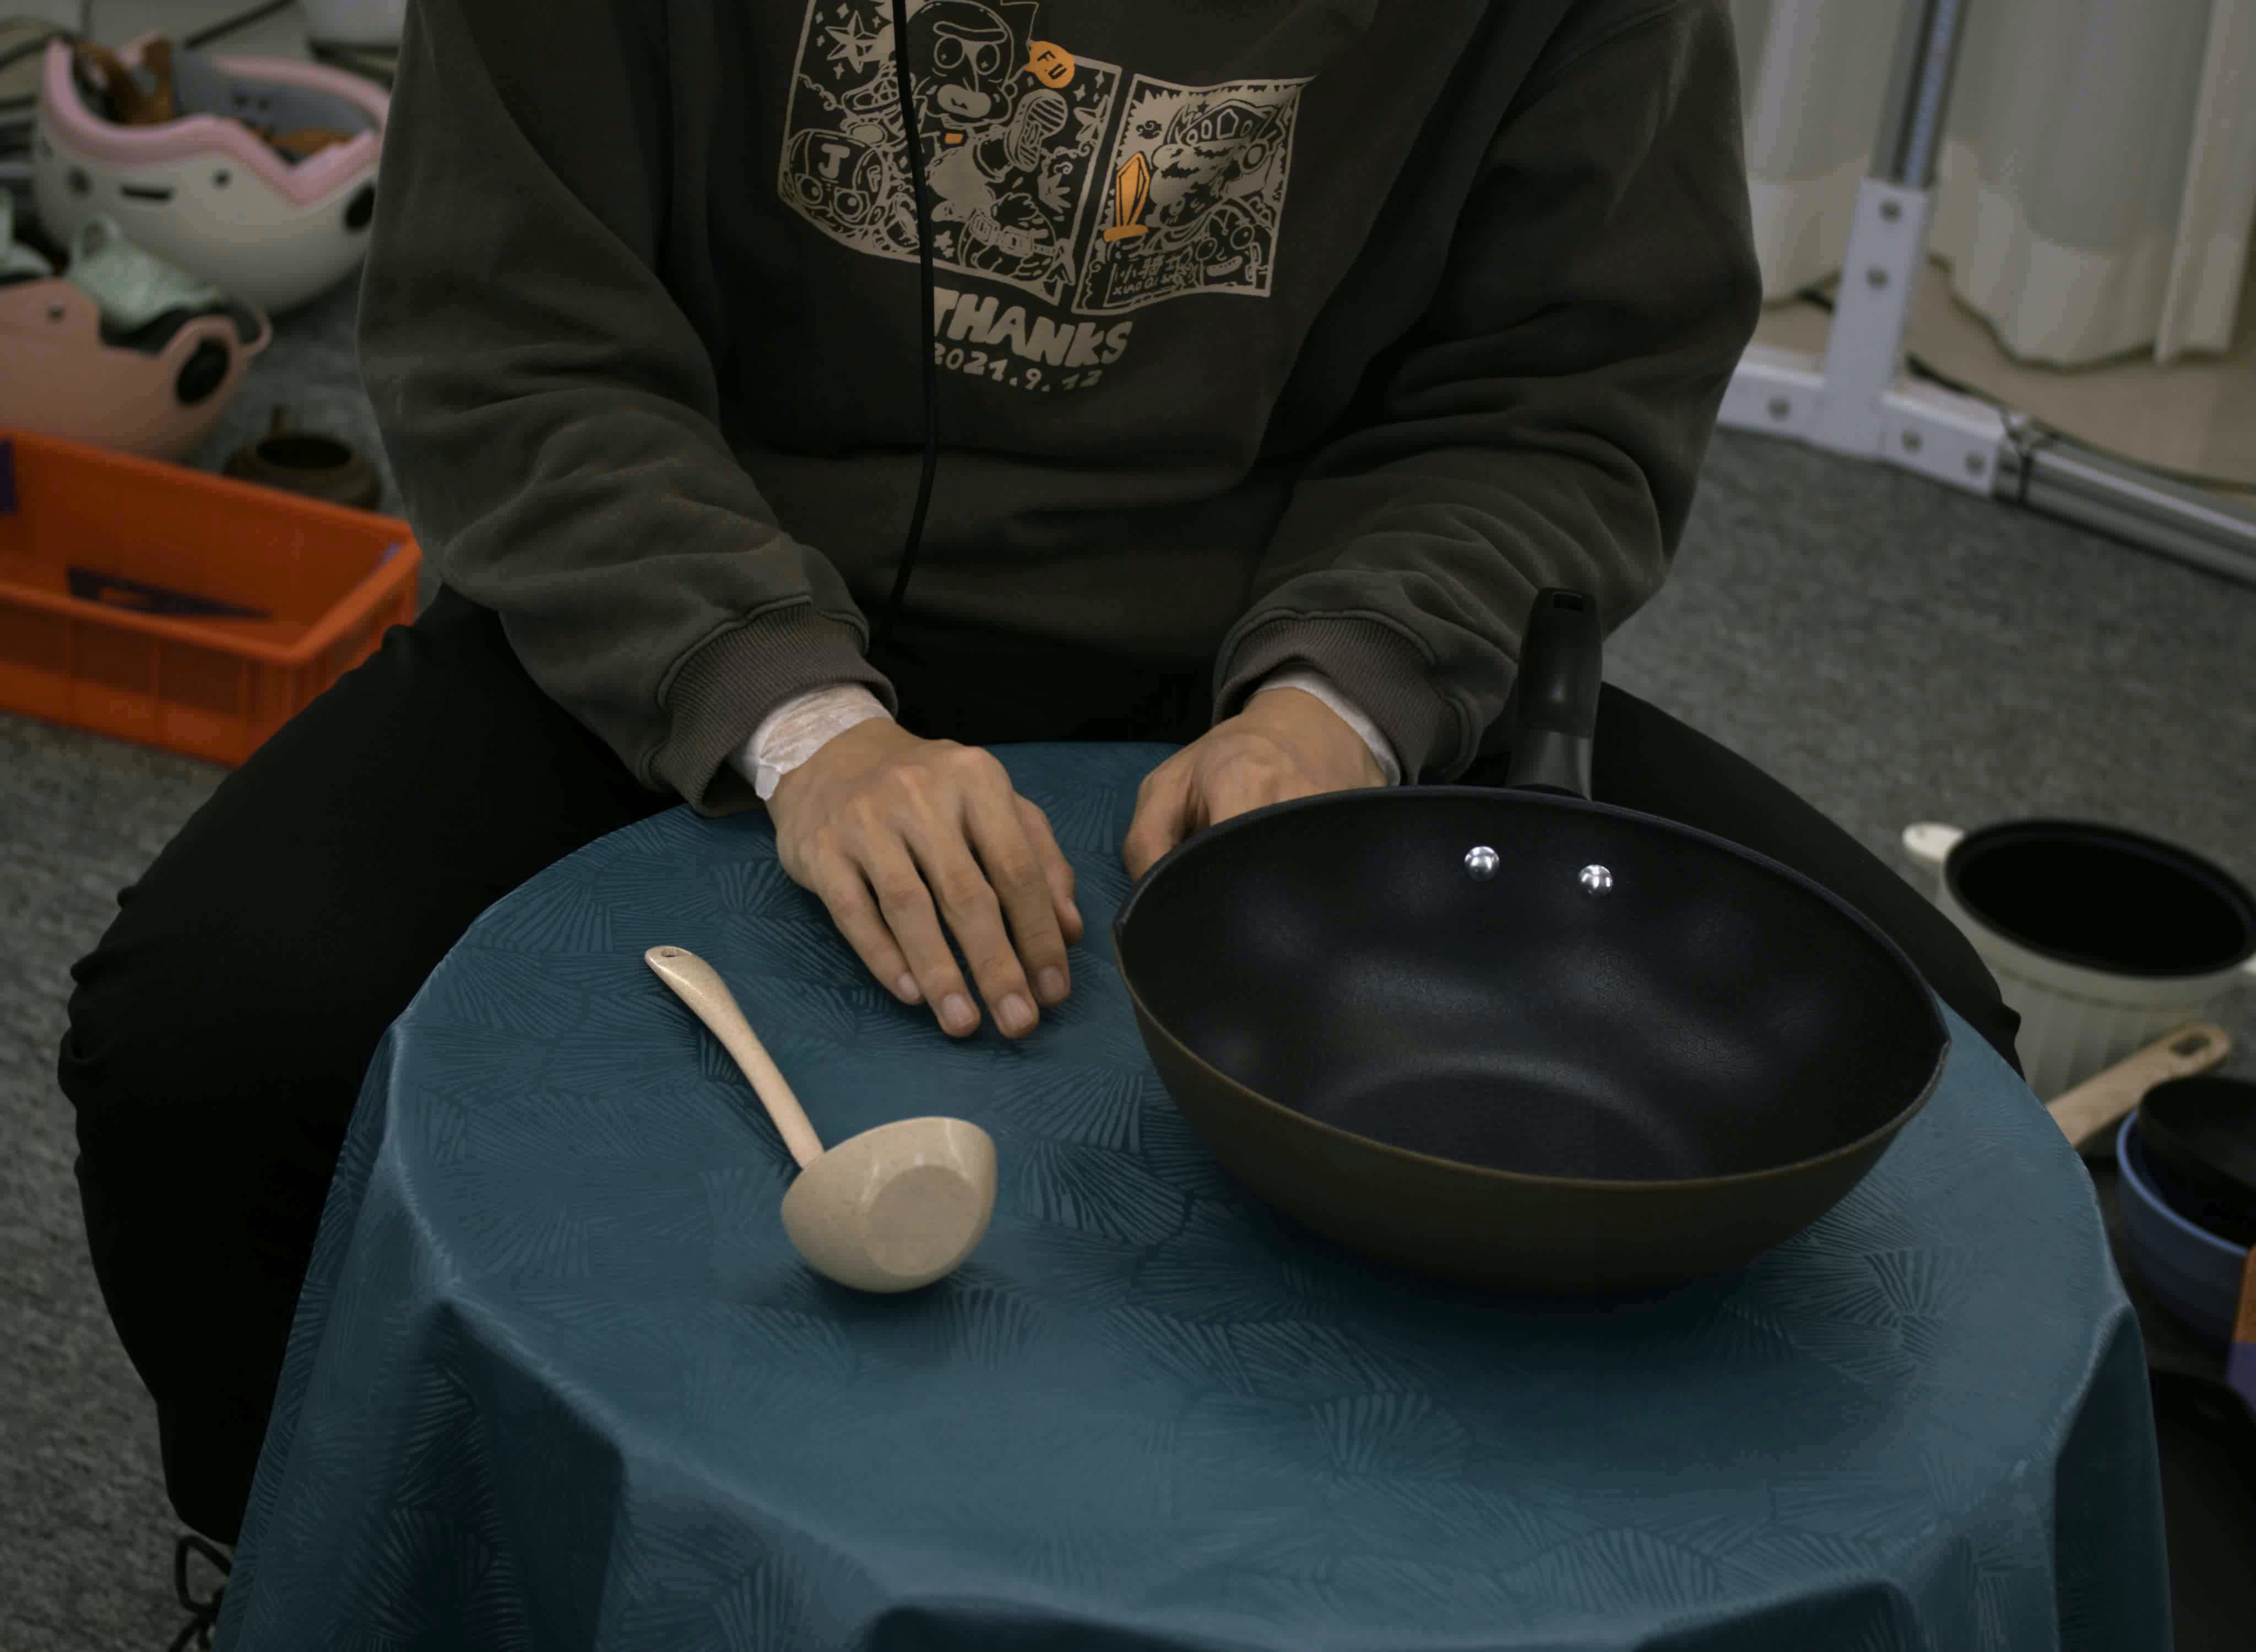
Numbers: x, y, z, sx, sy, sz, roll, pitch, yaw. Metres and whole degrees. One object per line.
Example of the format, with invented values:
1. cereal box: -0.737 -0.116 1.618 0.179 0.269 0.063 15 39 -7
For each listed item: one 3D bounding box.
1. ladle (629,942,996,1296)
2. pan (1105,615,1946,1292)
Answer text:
1. ladle: -0.119 0.072 1.798 0.072 0.072 0.257 -10 32 -23
2. pan: 0.141 0.045 1.900 0.287 0.086 0.465 8 25 4
